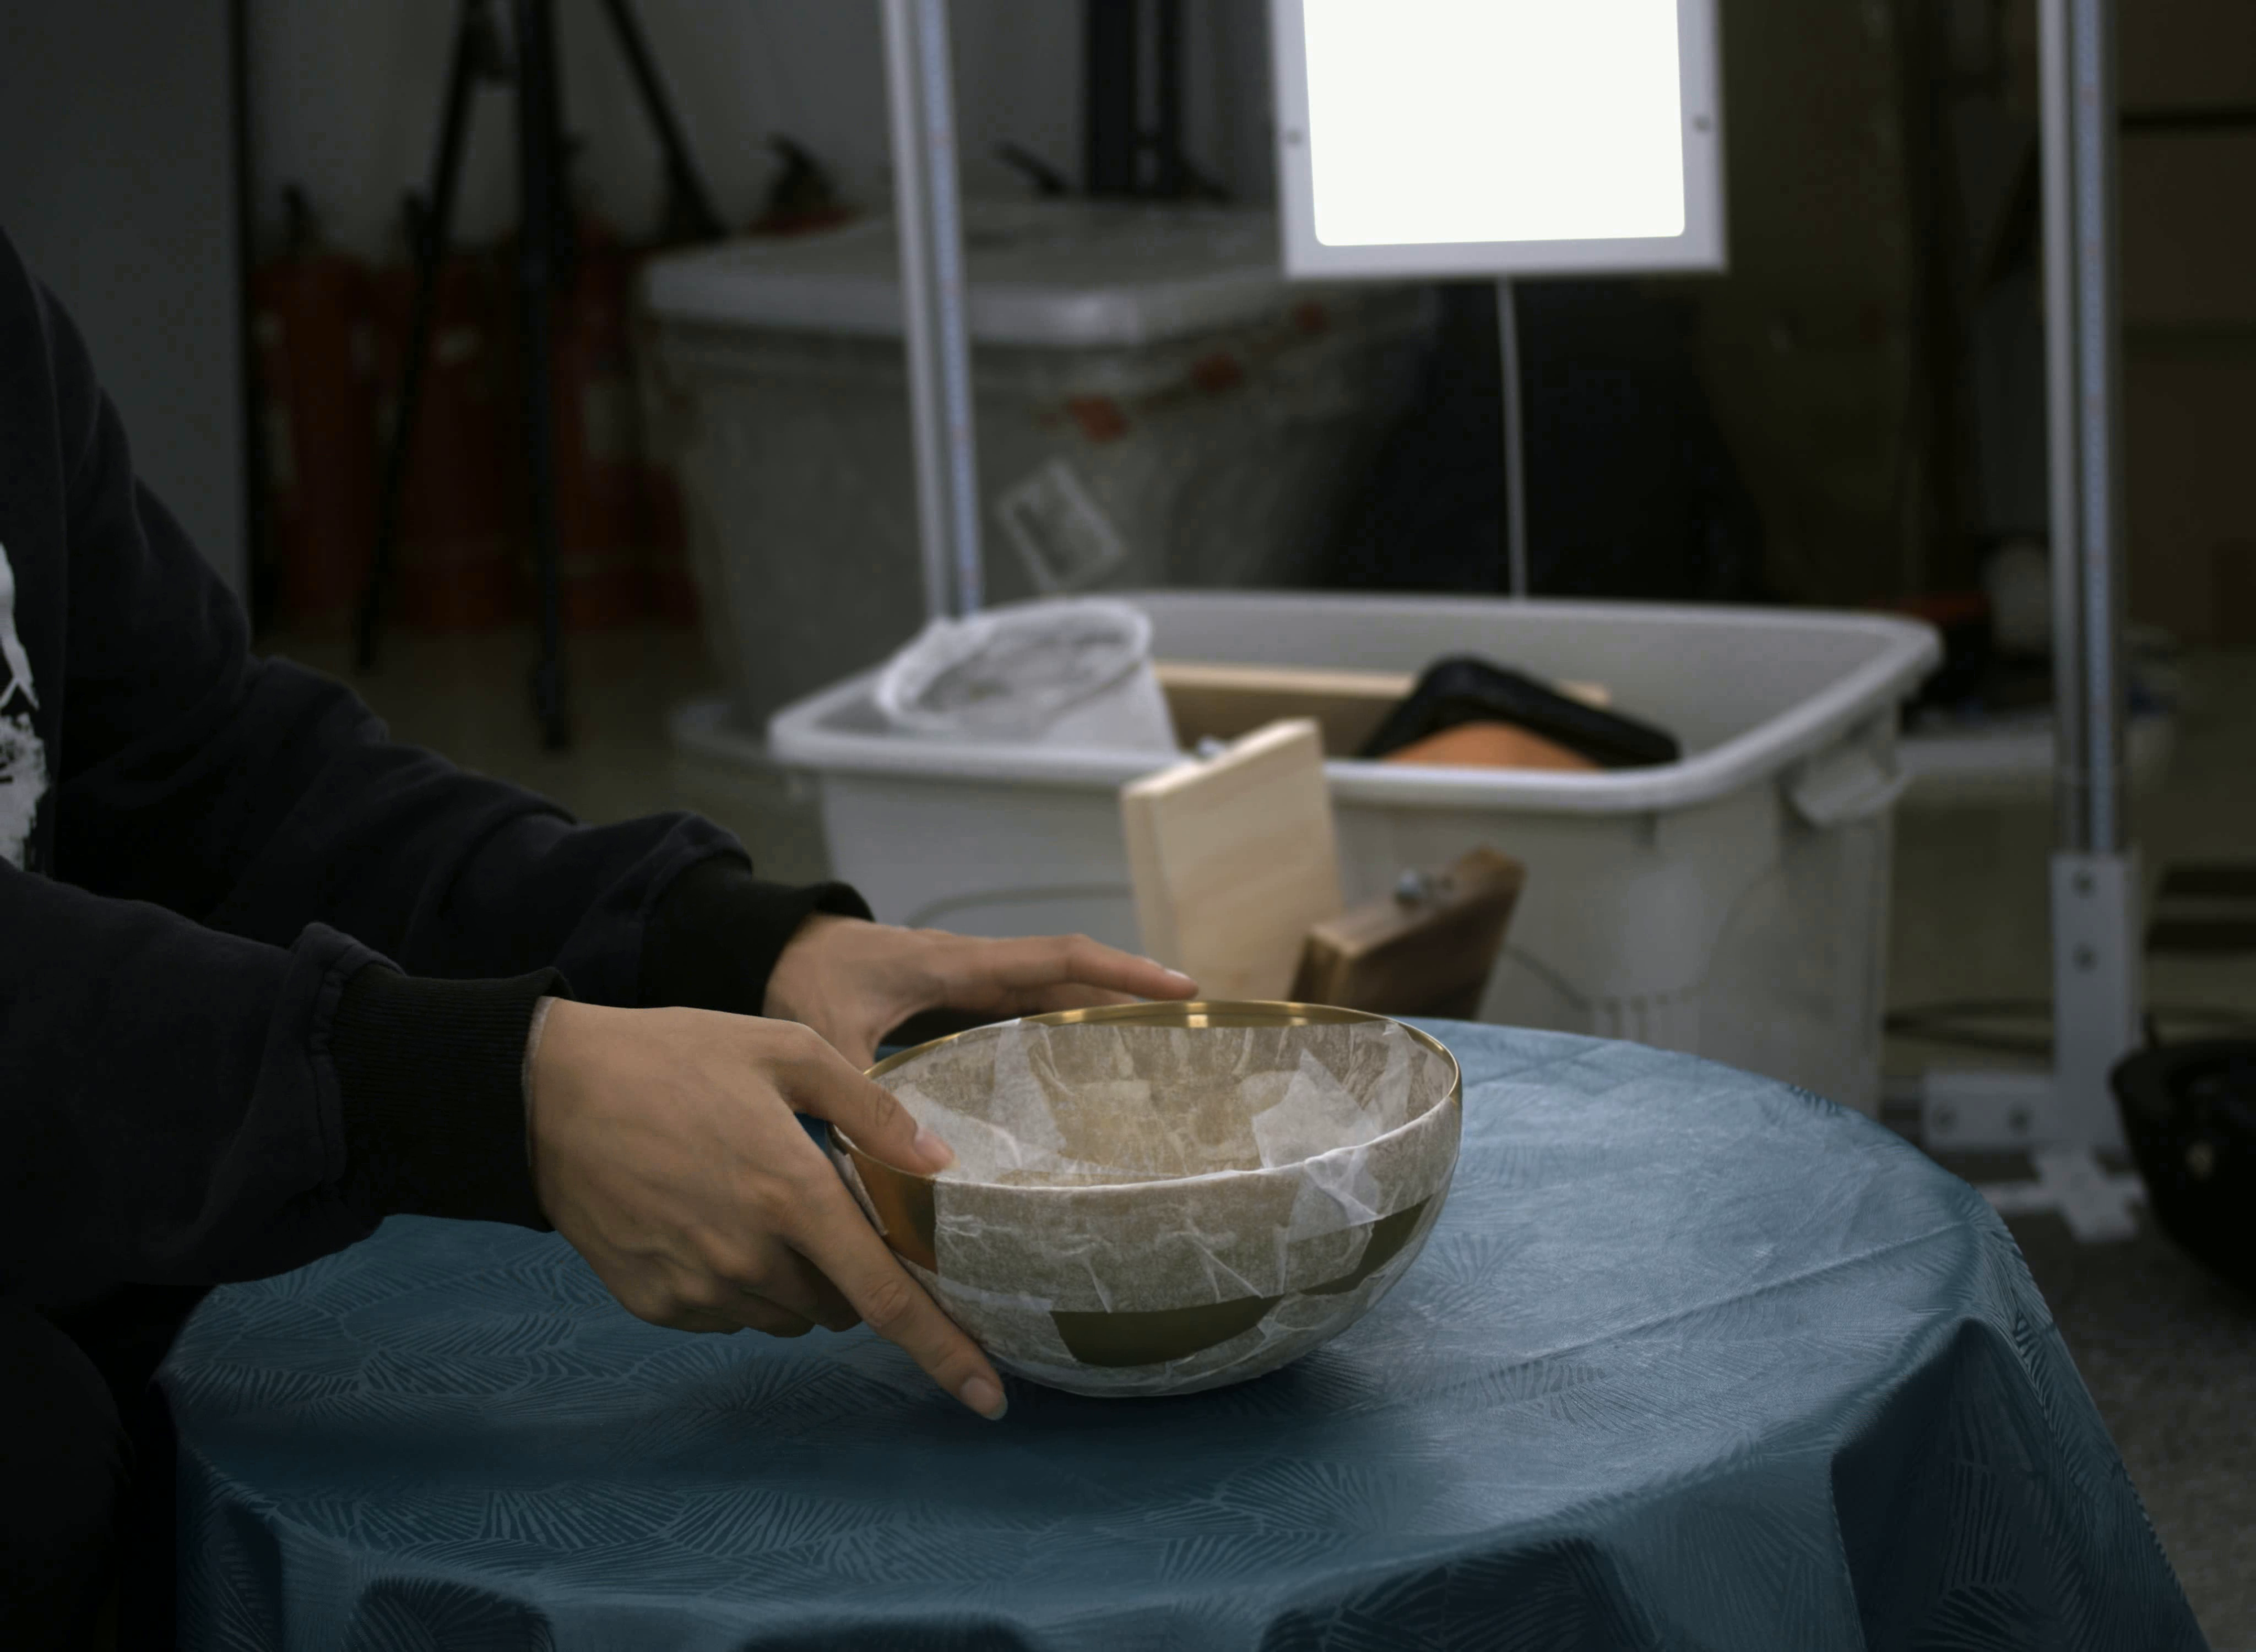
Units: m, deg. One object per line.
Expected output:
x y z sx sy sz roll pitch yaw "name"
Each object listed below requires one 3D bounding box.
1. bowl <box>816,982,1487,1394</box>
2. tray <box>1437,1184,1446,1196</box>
0.009 0.121 1.718 0.214 0.095 0.214 -6 15 0 "bowl"
0.019 0.109 1.930 0.099 0.020 0.236 -18 20 -36 "tray"
